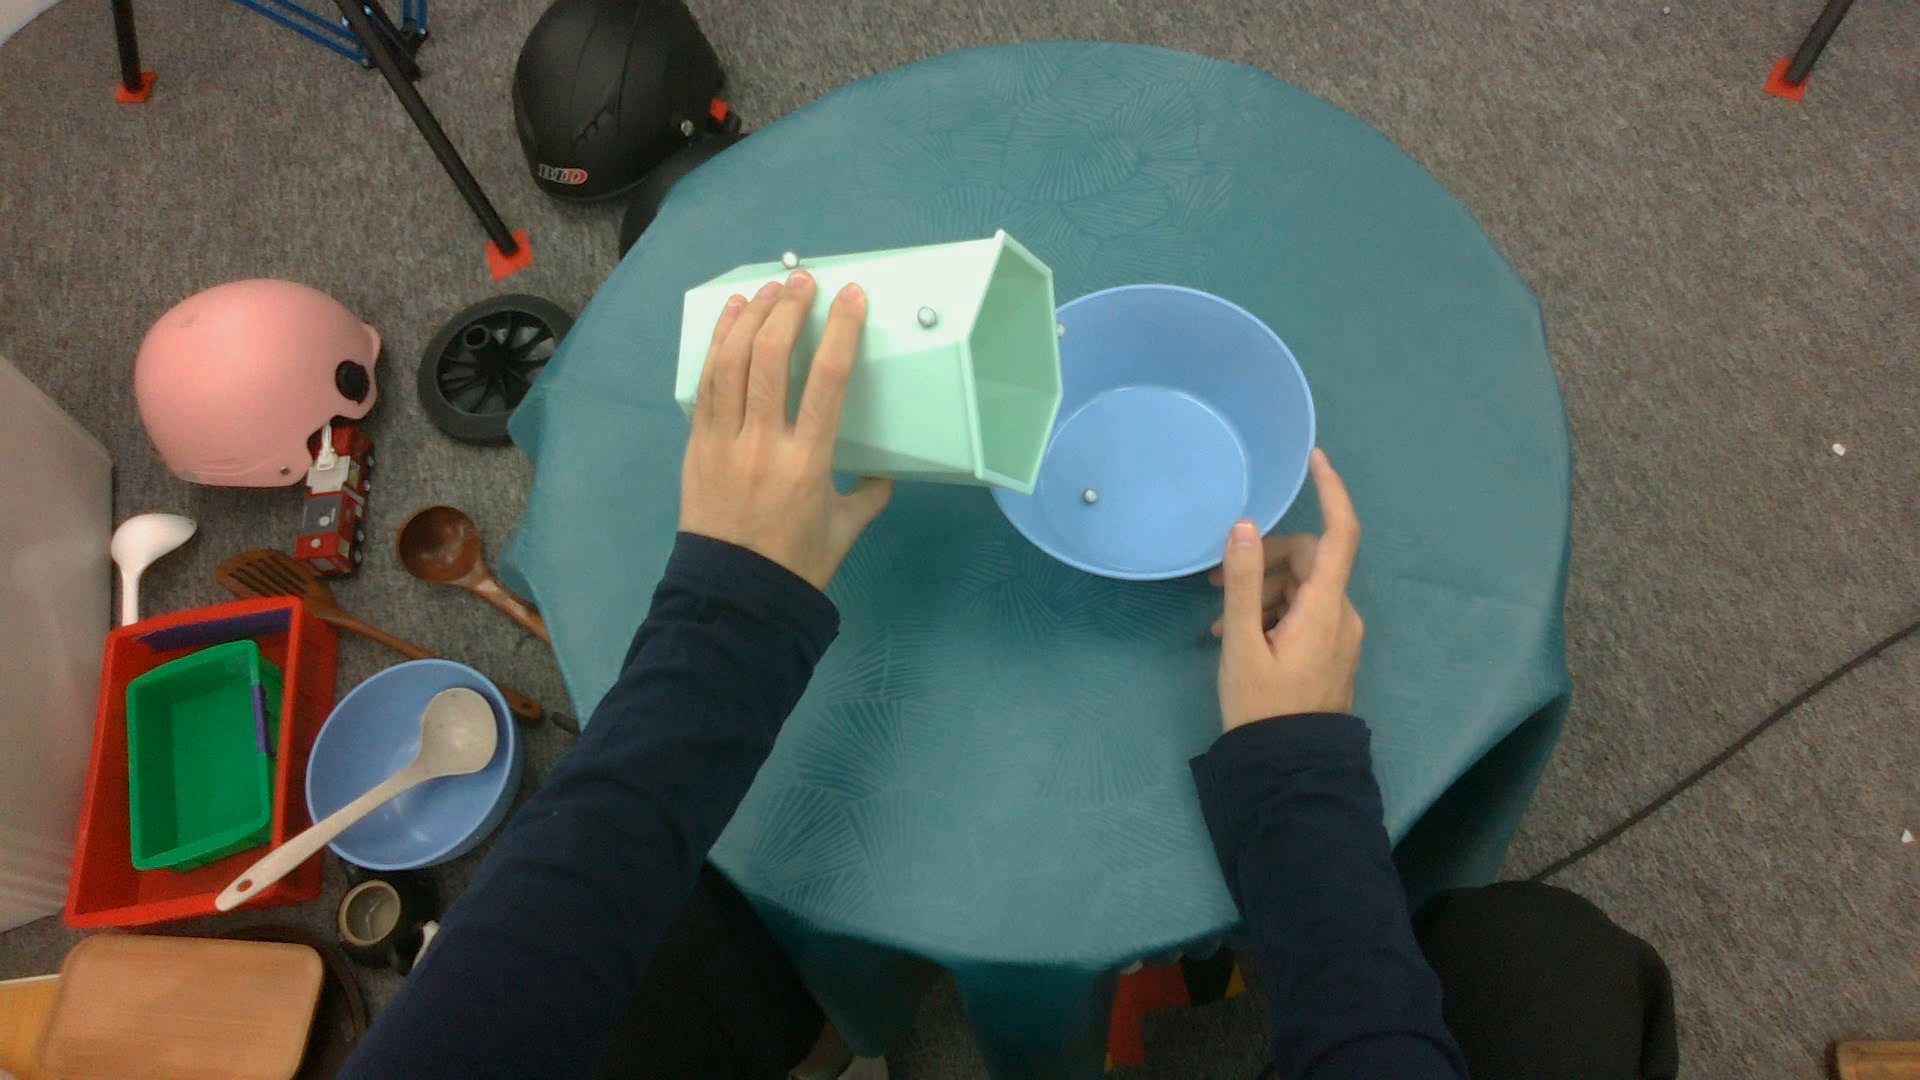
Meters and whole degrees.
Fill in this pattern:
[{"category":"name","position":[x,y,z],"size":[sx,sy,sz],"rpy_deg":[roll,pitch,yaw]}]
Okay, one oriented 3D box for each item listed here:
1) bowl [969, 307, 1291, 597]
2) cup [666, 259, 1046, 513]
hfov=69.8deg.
[{"category":"bowl","position":[0.092,-0.038,0.765],"size":[0.176,0.070,0.176],"rpy_deg":[-3,65,6]},{"category":"cup","position":[-0.054,-0.078,0.696],"size":[0.162,0.131,0.115],"rpy_deg":[4,88,24]}]
